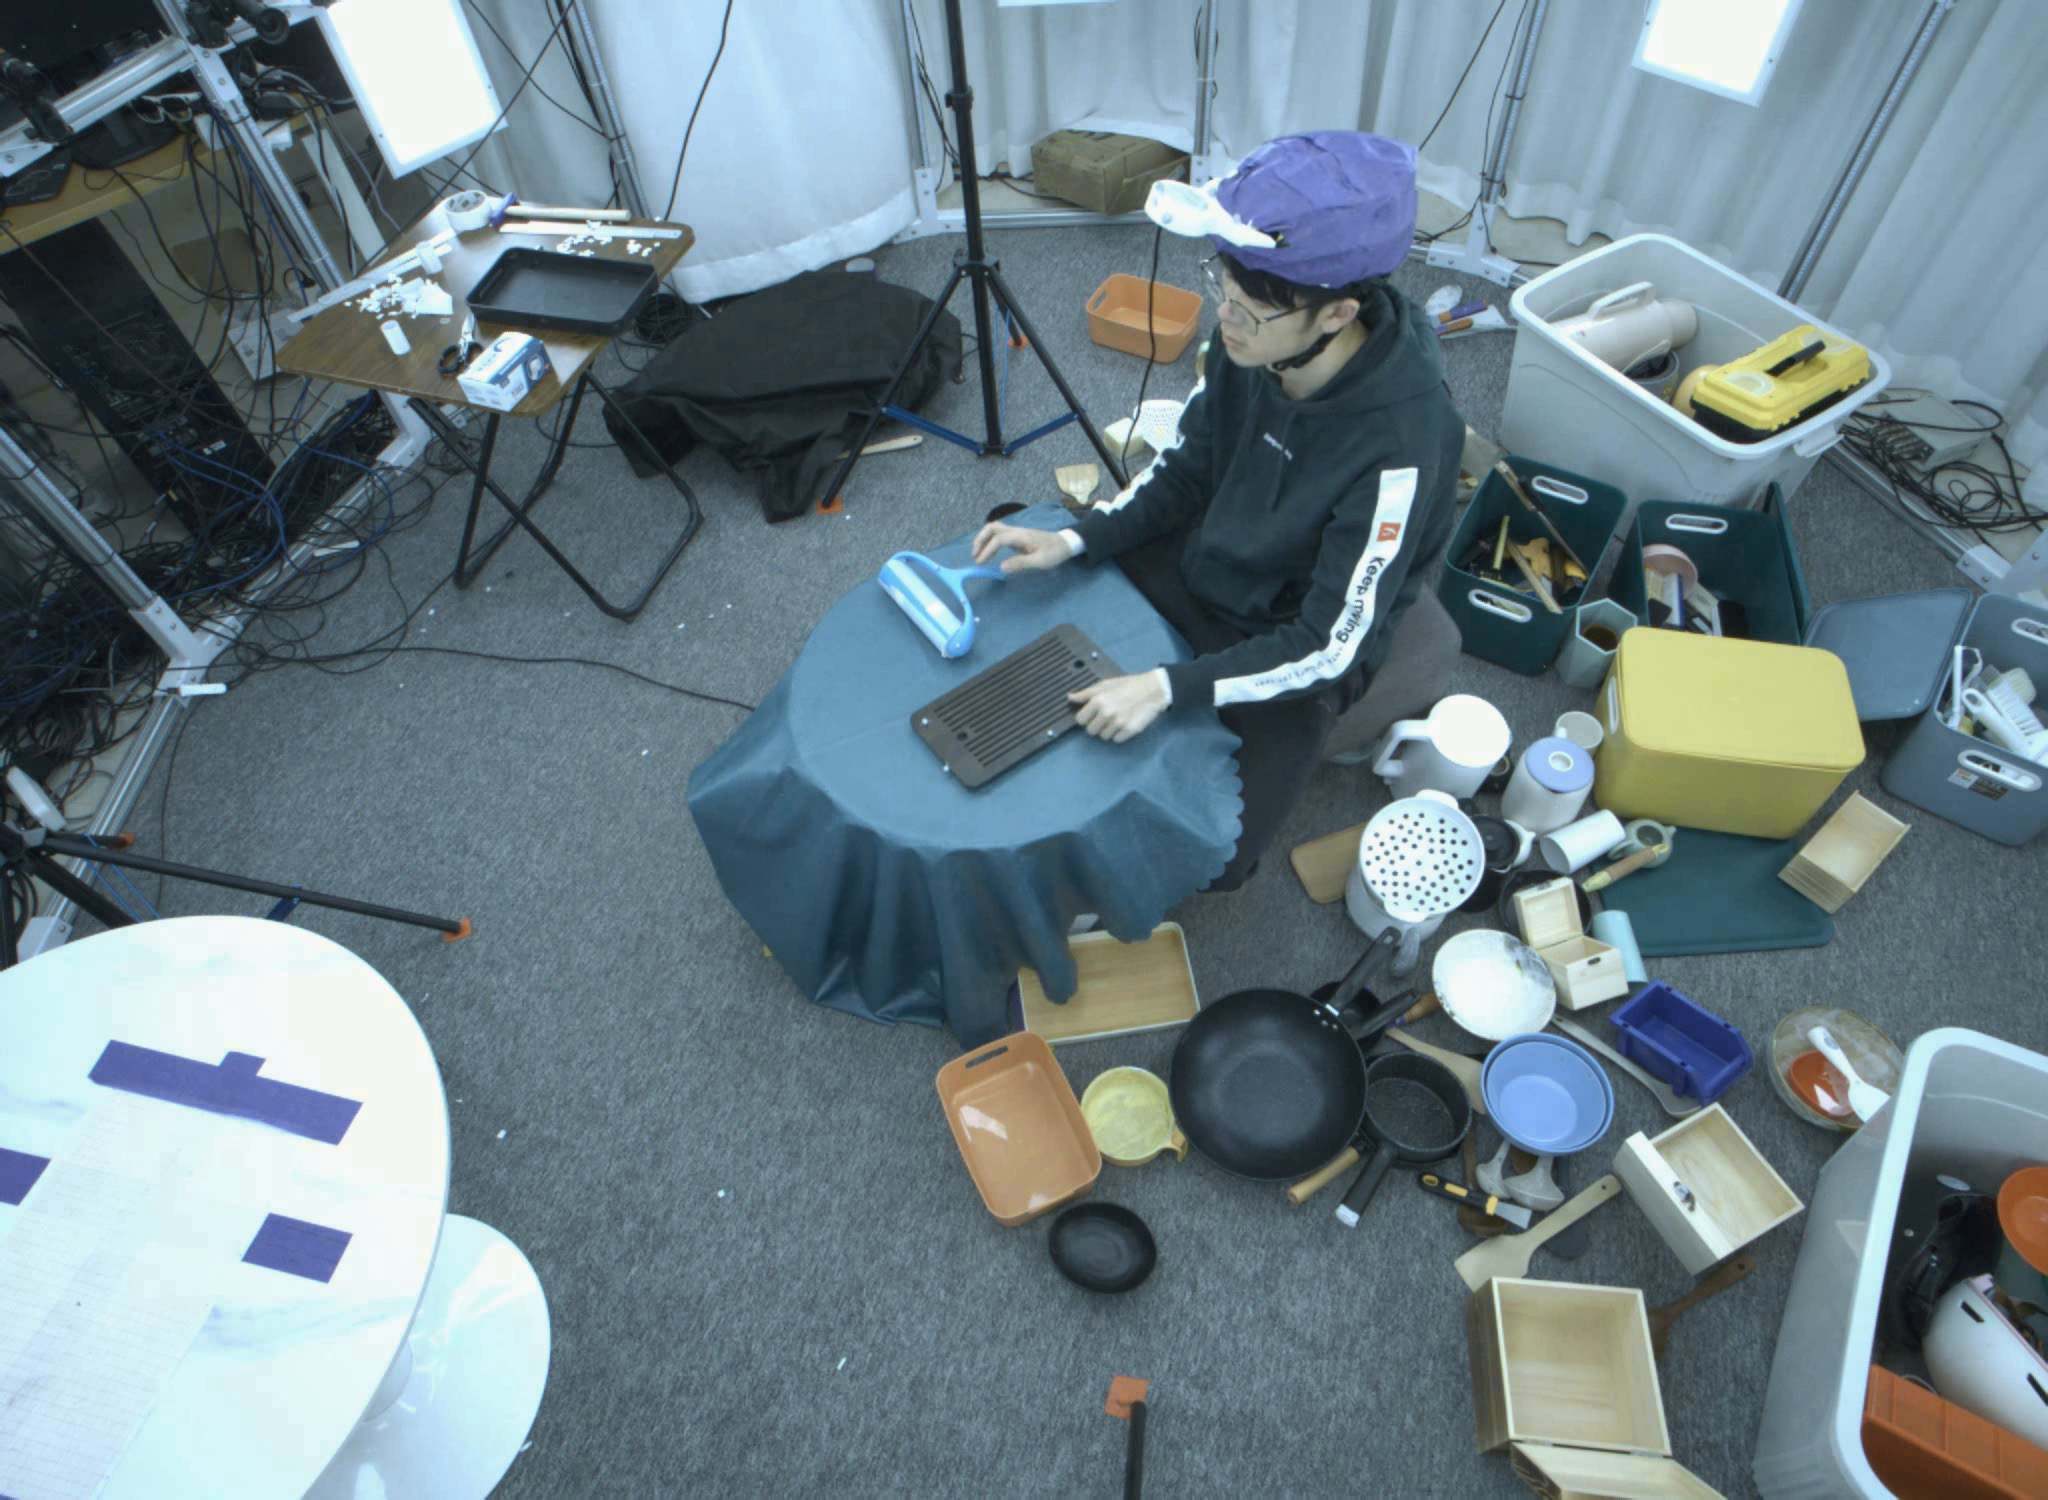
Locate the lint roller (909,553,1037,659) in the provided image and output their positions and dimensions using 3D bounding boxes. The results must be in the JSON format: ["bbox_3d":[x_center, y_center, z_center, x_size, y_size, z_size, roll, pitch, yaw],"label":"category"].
[{"bbox_3d":[-0.060,-0.252,1.929,0.181,0.069,0.224,-33,58,-17],"label":"lint roller"}]

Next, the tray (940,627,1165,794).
[{"bbox_3d":[0.042,-0.061,1.814,0.308,0.019,0.167,-31,59,-19],"label":"tray"}]
